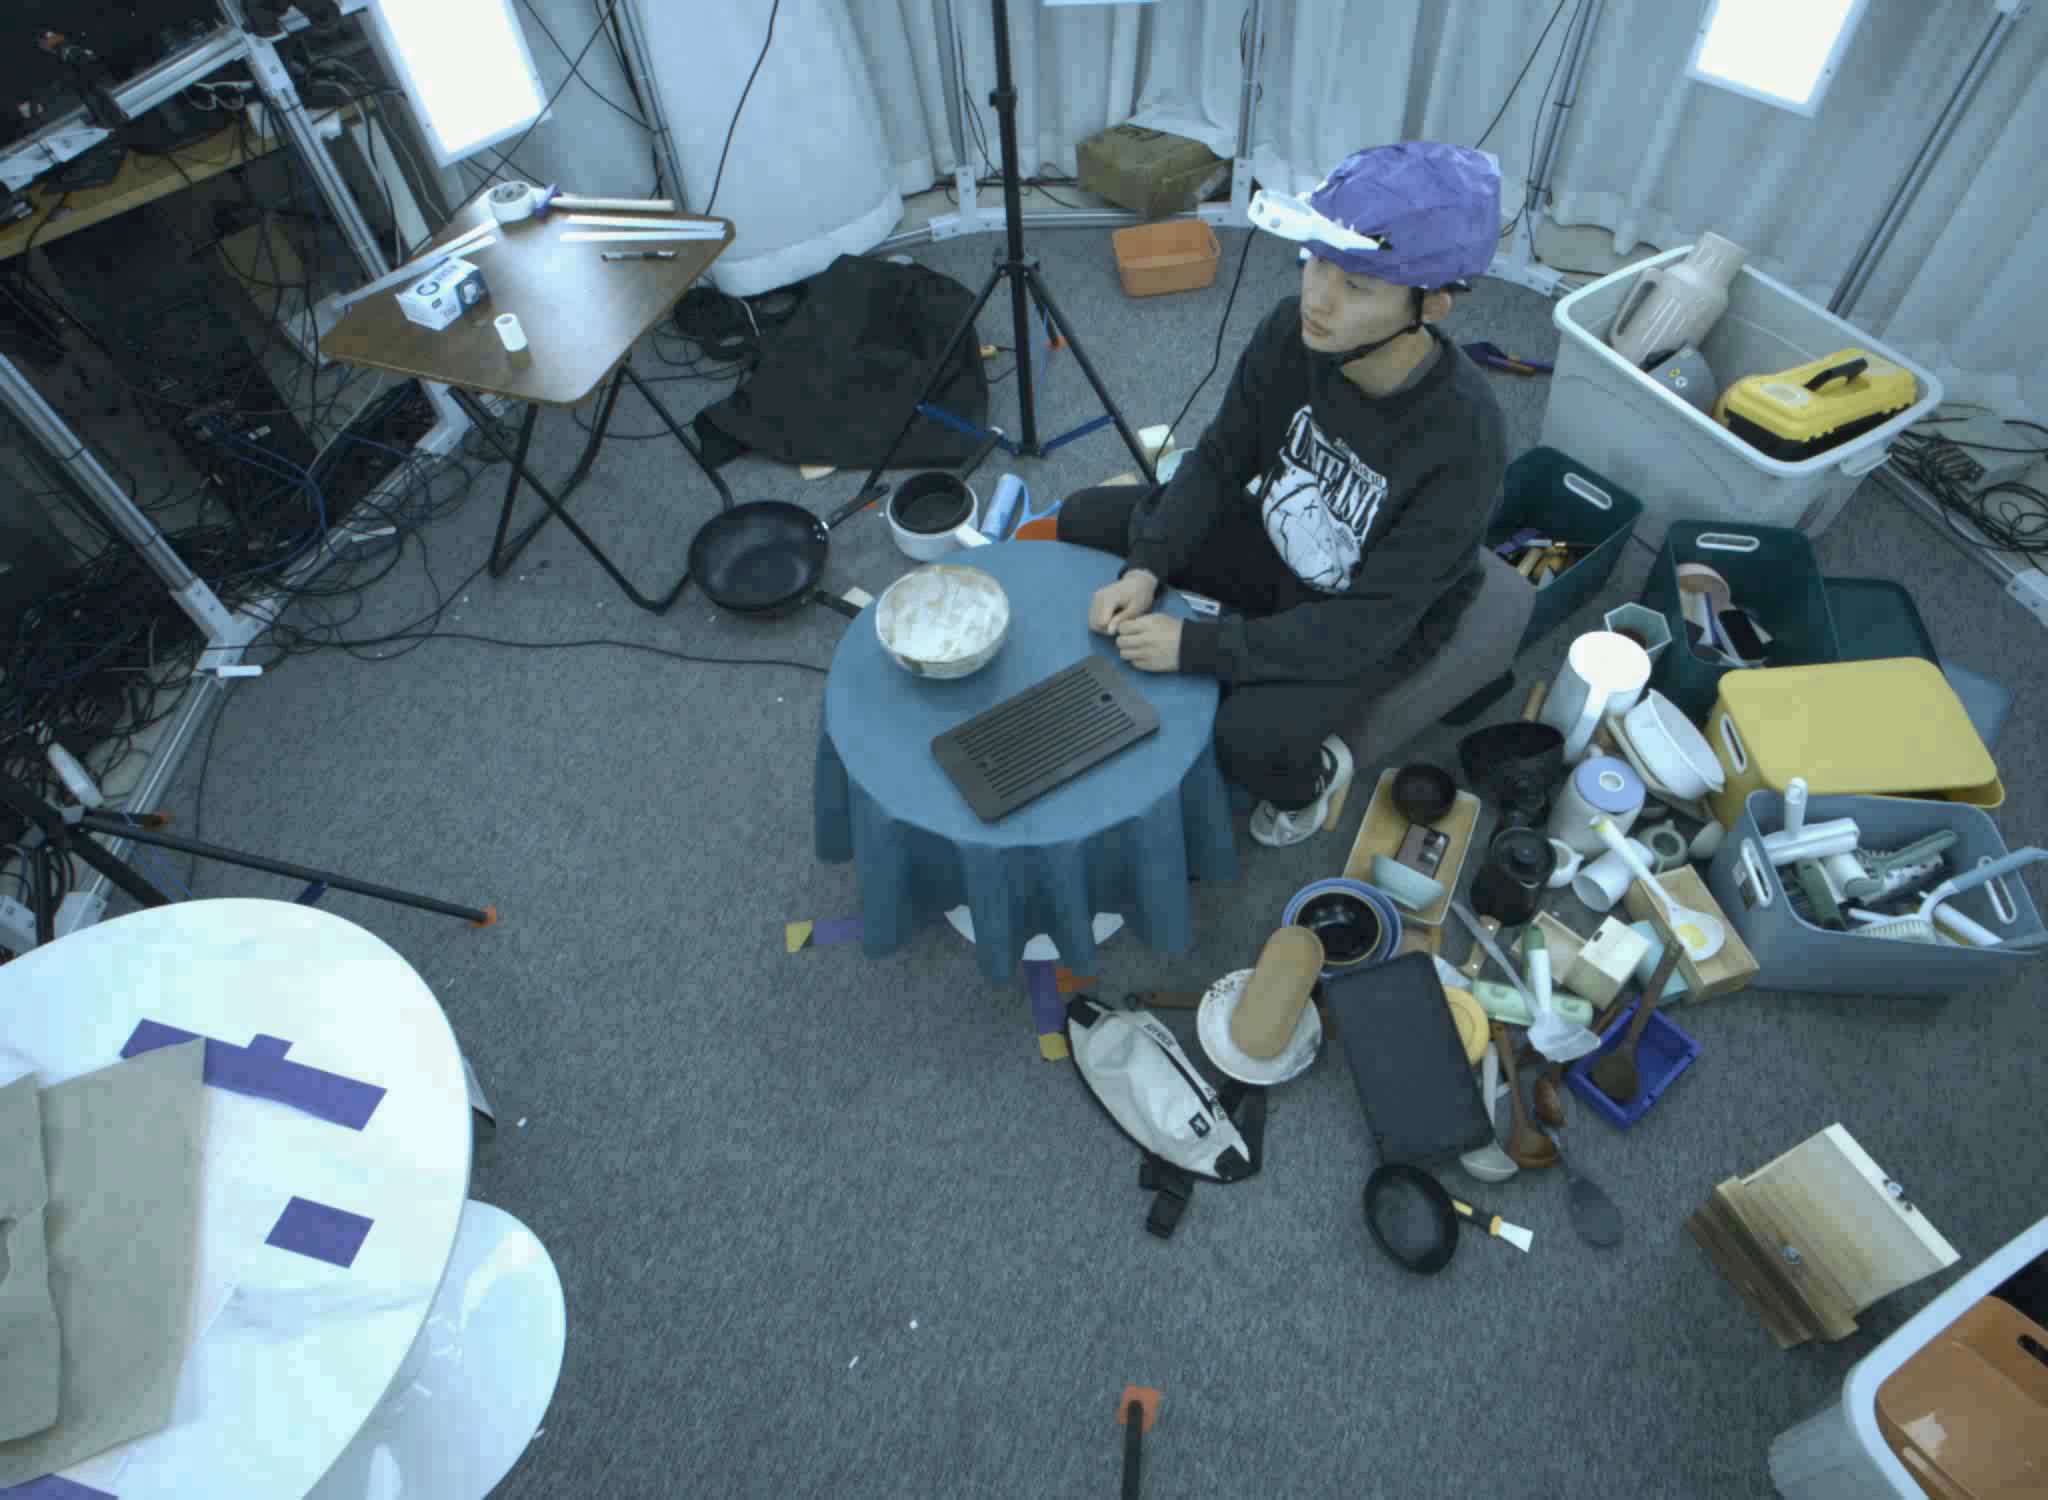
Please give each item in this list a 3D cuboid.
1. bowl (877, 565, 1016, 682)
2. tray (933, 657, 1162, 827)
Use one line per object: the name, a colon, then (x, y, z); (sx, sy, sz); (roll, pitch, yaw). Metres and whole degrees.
bowl: (-0.114, -0.175, 1.867); (0.214, 0.095, 0.212); (0, 54, 2)
tray: (0.035, -0.015, 1.796); (0.308, 0.019, 0.167); (-29, 59, -18)
